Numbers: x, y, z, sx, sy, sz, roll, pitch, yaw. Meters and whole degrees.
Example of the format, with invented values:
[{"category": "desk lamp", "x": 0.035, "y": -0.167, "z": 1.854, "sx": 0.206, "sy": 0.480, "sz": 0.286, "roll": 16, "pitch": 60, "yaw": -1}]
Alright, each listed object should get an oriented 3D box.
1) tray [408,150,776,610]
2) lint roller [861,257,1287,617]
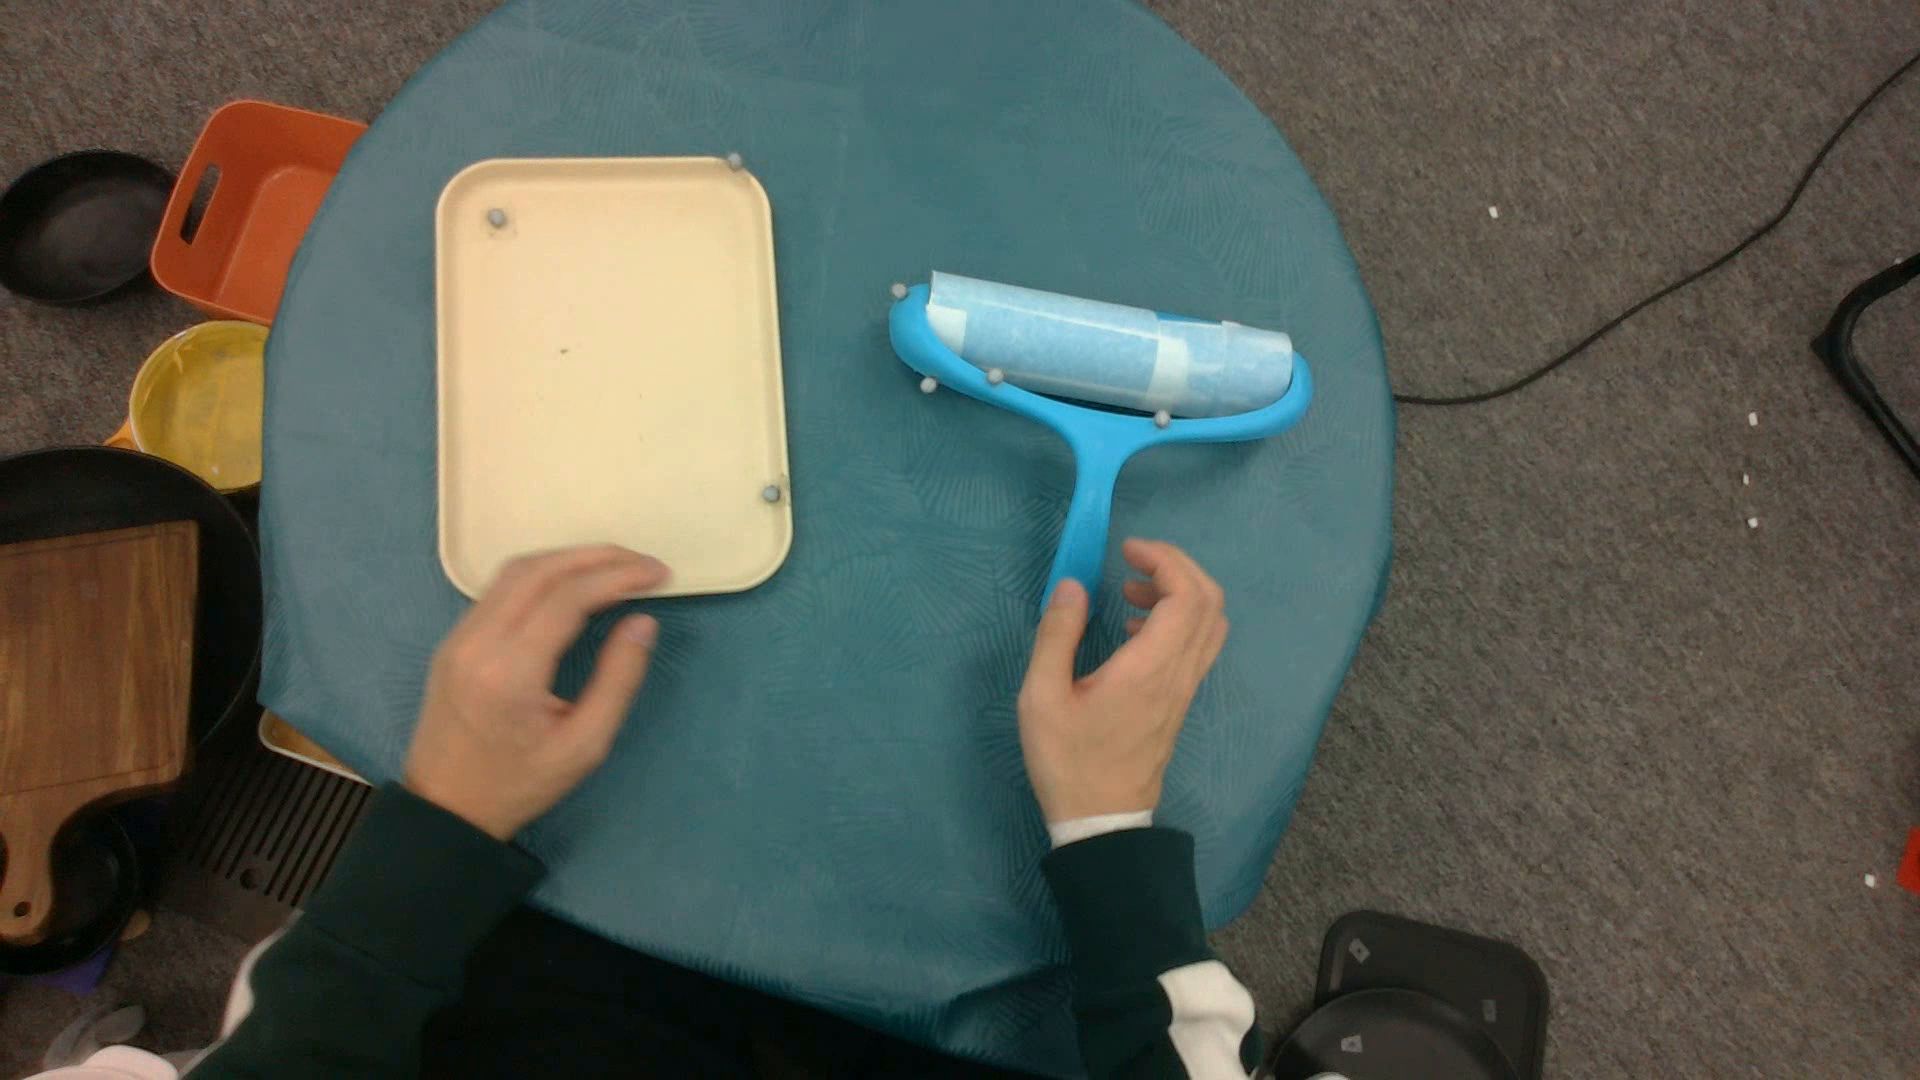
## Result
[{"category": "tray", "x": -0.189, "y": -0.086, "z": 0.708, "sx": 0.171, "sy": 0.017, "sz": 0.240, "roll": -6, "pitch": 77, "yaw": -9}, {"category": "lint roller", "x": 0.059, "y": -0.054, "z": 0.714, "sx": 0.229, "sy": 0.067, "sz": 0.180, "roll": 5, "pitch": 74, "yaw": -9}]
